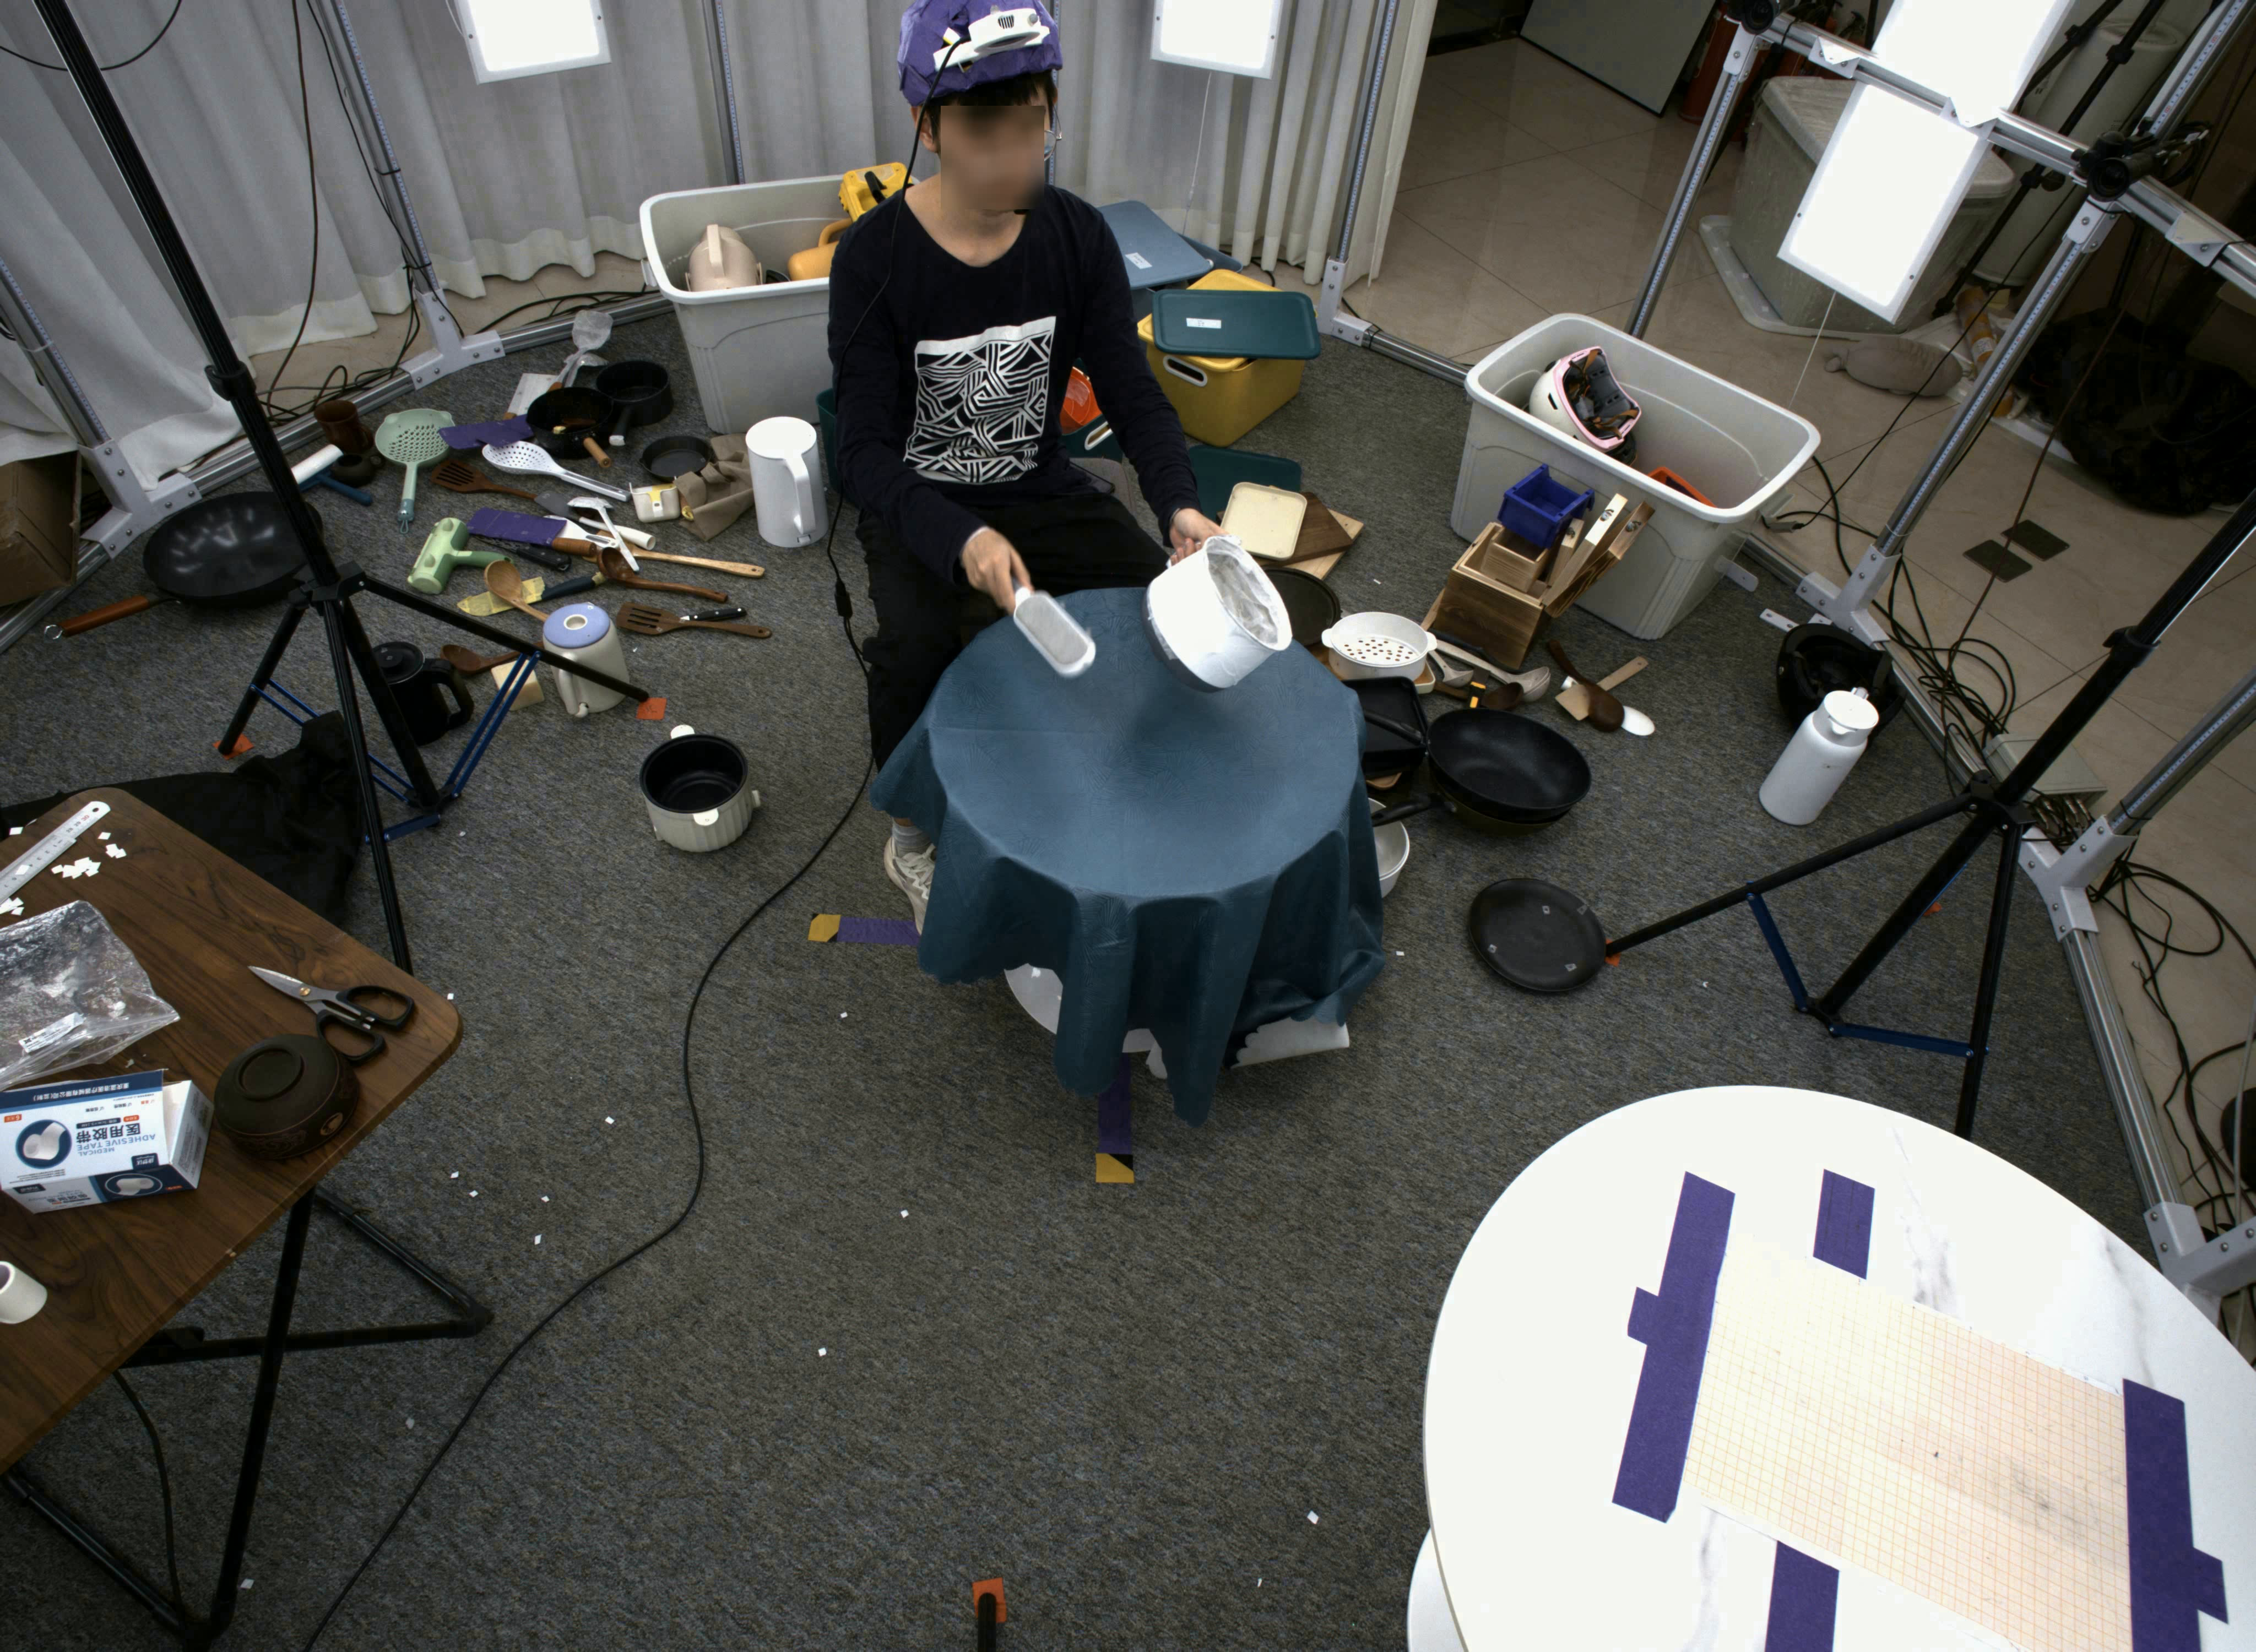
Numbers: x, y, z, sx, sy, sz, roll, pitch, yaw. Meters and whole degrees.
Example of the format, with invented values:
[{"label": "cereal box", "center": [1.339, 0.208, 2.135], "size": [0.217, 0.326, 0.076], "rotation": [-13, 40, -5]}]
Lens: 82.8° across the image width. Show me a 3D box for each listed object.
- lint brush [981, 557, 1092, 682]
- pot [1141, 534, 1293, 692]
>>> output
[{"label": "lint brush", "center": [-0.129, -0.284, 1.719], "size": [0.060, 0.020, 0.316], "rotation": [-41, 47, 3]}, {"label": "pot", "center": [0.112, -0.301, 1.728], "size": [0.176, 0.135, 0.239], "rotation": [30, 41, -40]}]
